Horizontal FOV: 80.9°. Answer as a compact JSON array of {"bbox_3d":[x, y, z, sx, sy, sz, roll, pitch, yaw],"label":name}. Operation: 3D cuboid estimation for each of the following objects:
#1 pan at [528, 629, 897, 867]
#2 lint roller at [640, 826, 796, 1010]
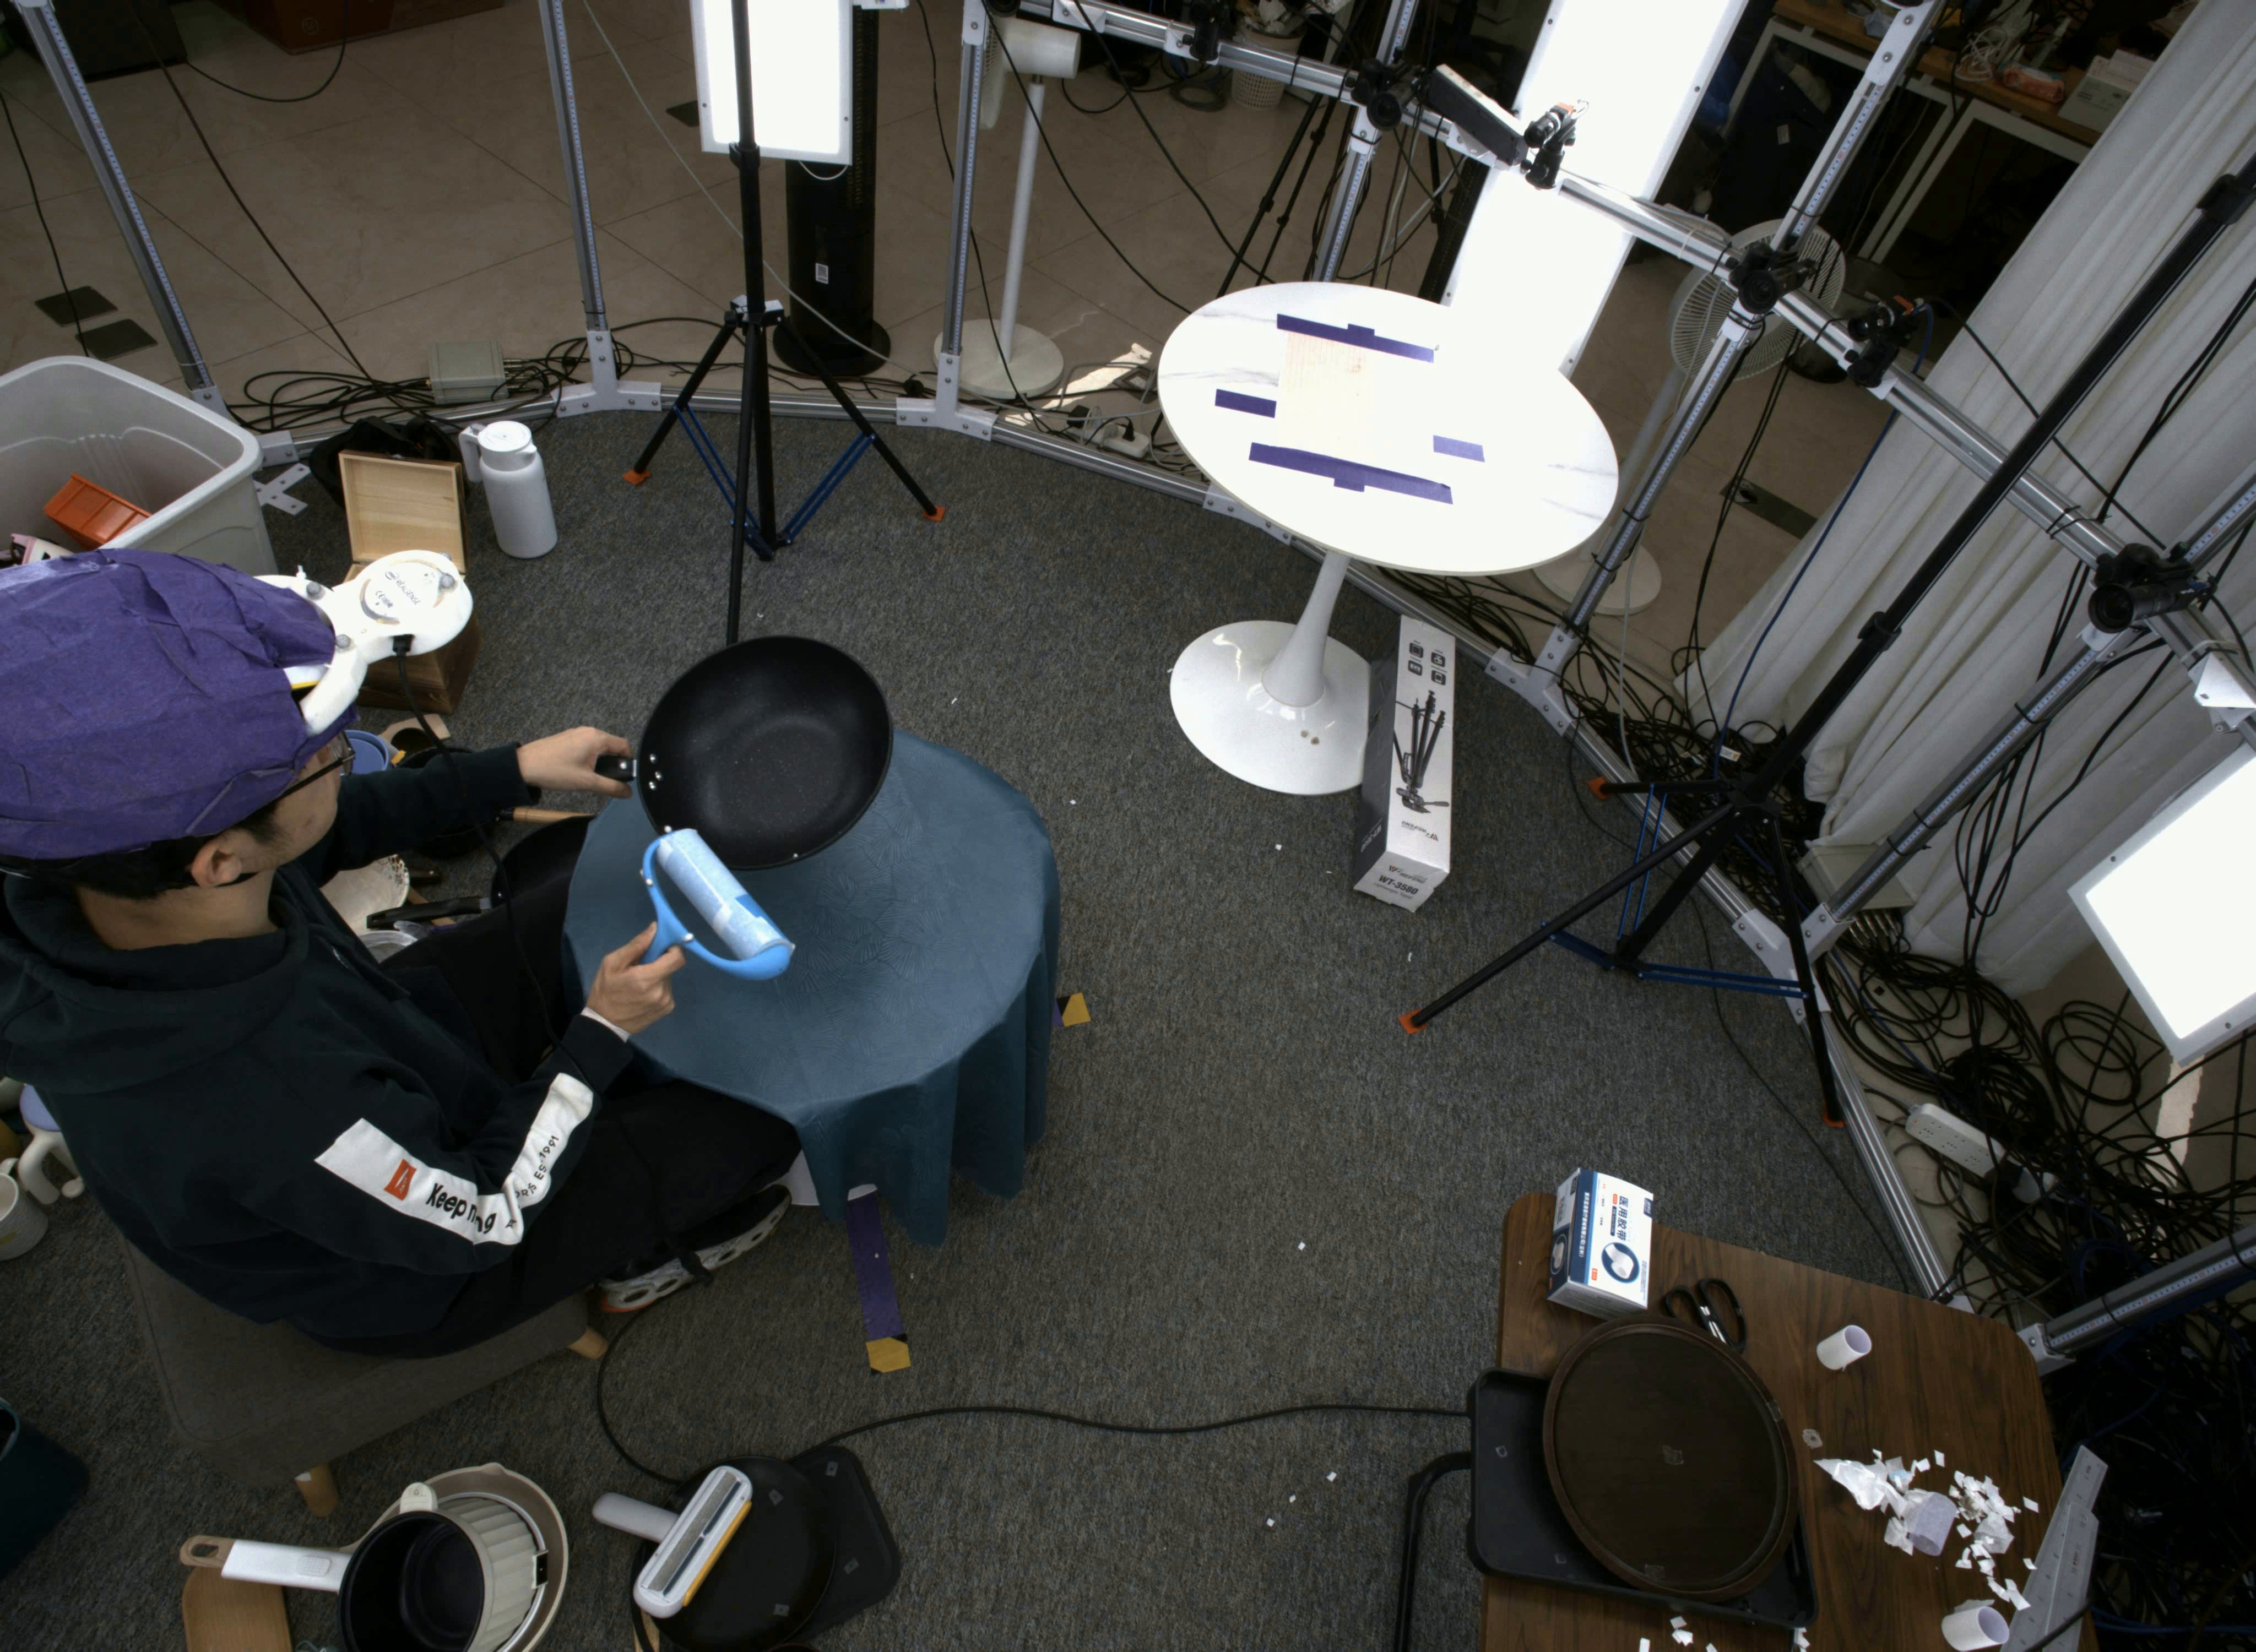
[{"bbox_3d":[-0.502,-0.074,1.539,0.472,0.114,0.306,-8,67,-1],"label":"pan"},{"bbox_3d":[-0.477,0.121,1.396,0.223,0.069,0.180,38,83,21],"label":"lint roller"}]
